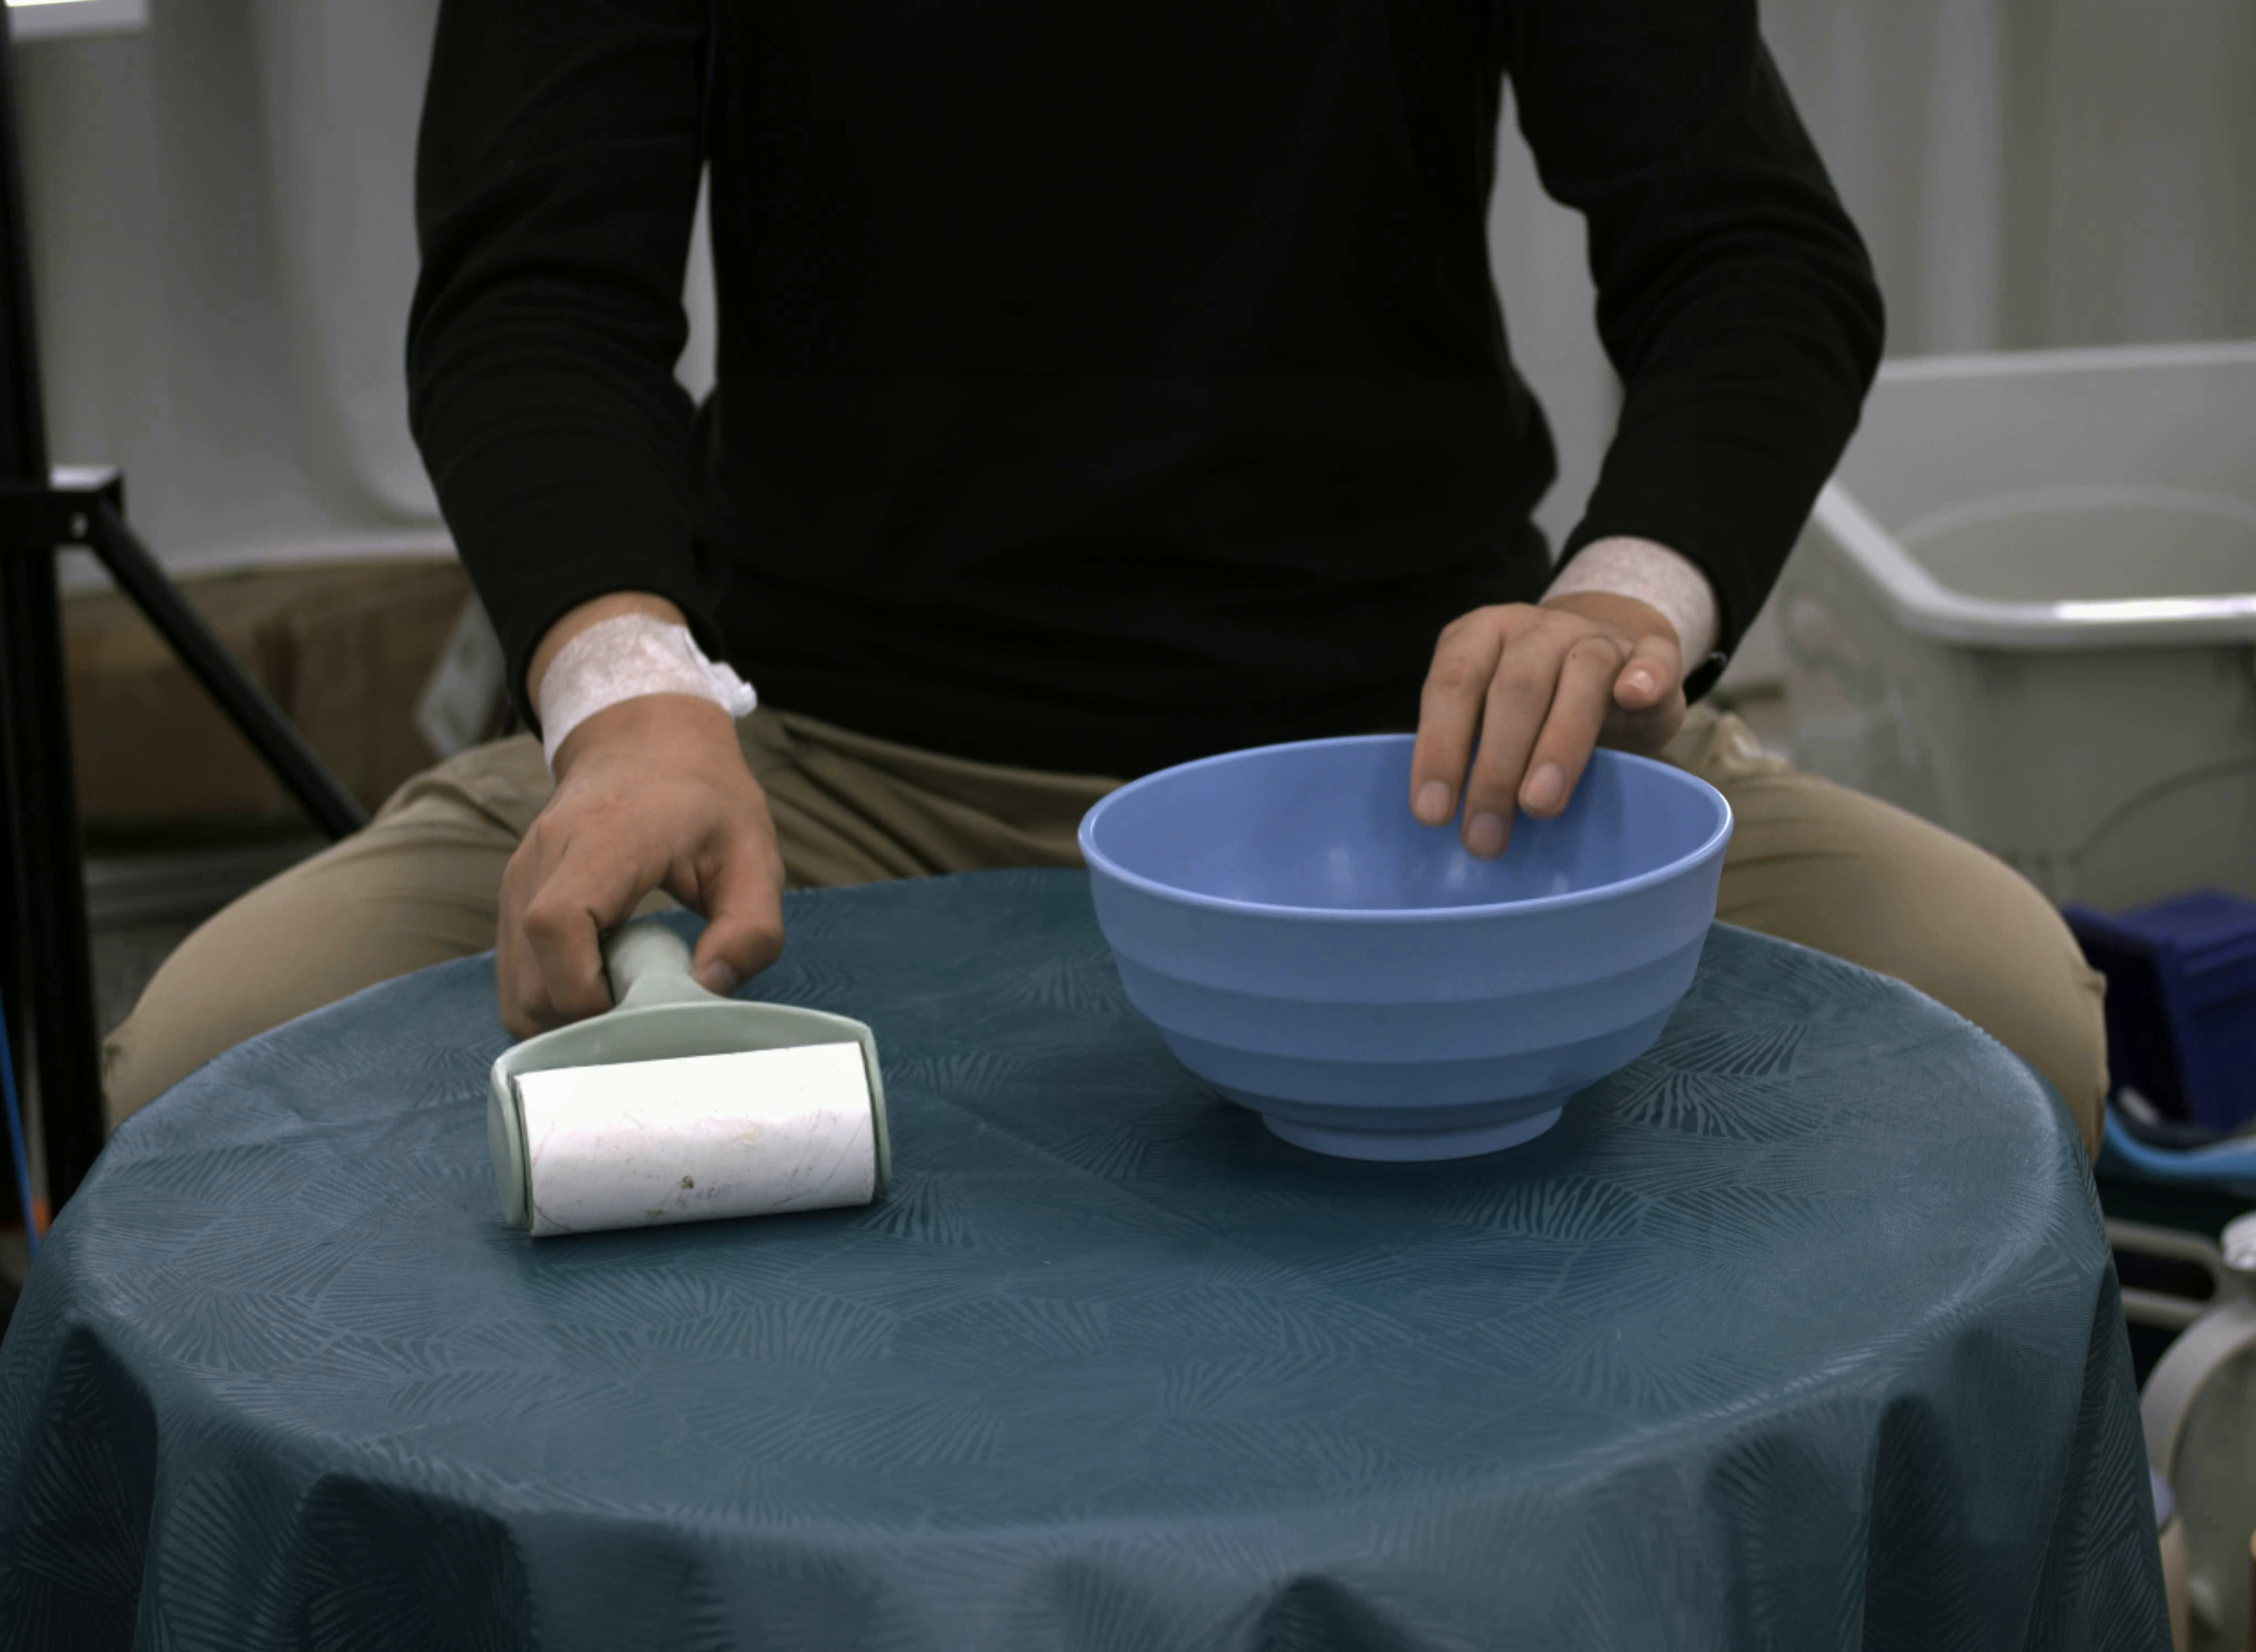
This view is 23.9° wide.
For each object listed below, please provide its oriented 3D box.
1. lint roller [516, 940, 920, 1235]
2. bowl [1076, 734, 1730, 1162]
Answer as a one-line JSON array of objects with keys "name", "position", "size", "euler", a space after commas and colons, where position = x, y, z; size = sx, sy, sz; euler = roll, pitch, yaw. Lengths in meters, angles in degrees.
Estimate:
[{"name": "lint roller", "position": [-0.133, 0.065, 1.618], "size": [0.115, 0.048, 0.200], "euler": [-7, 21, -10]}, {"name": "bowl", "position": [0.084, 0.042, 1.601], "size": [0.195, 0.095, 0.197], "euler": [-4, 16, 0]}]
